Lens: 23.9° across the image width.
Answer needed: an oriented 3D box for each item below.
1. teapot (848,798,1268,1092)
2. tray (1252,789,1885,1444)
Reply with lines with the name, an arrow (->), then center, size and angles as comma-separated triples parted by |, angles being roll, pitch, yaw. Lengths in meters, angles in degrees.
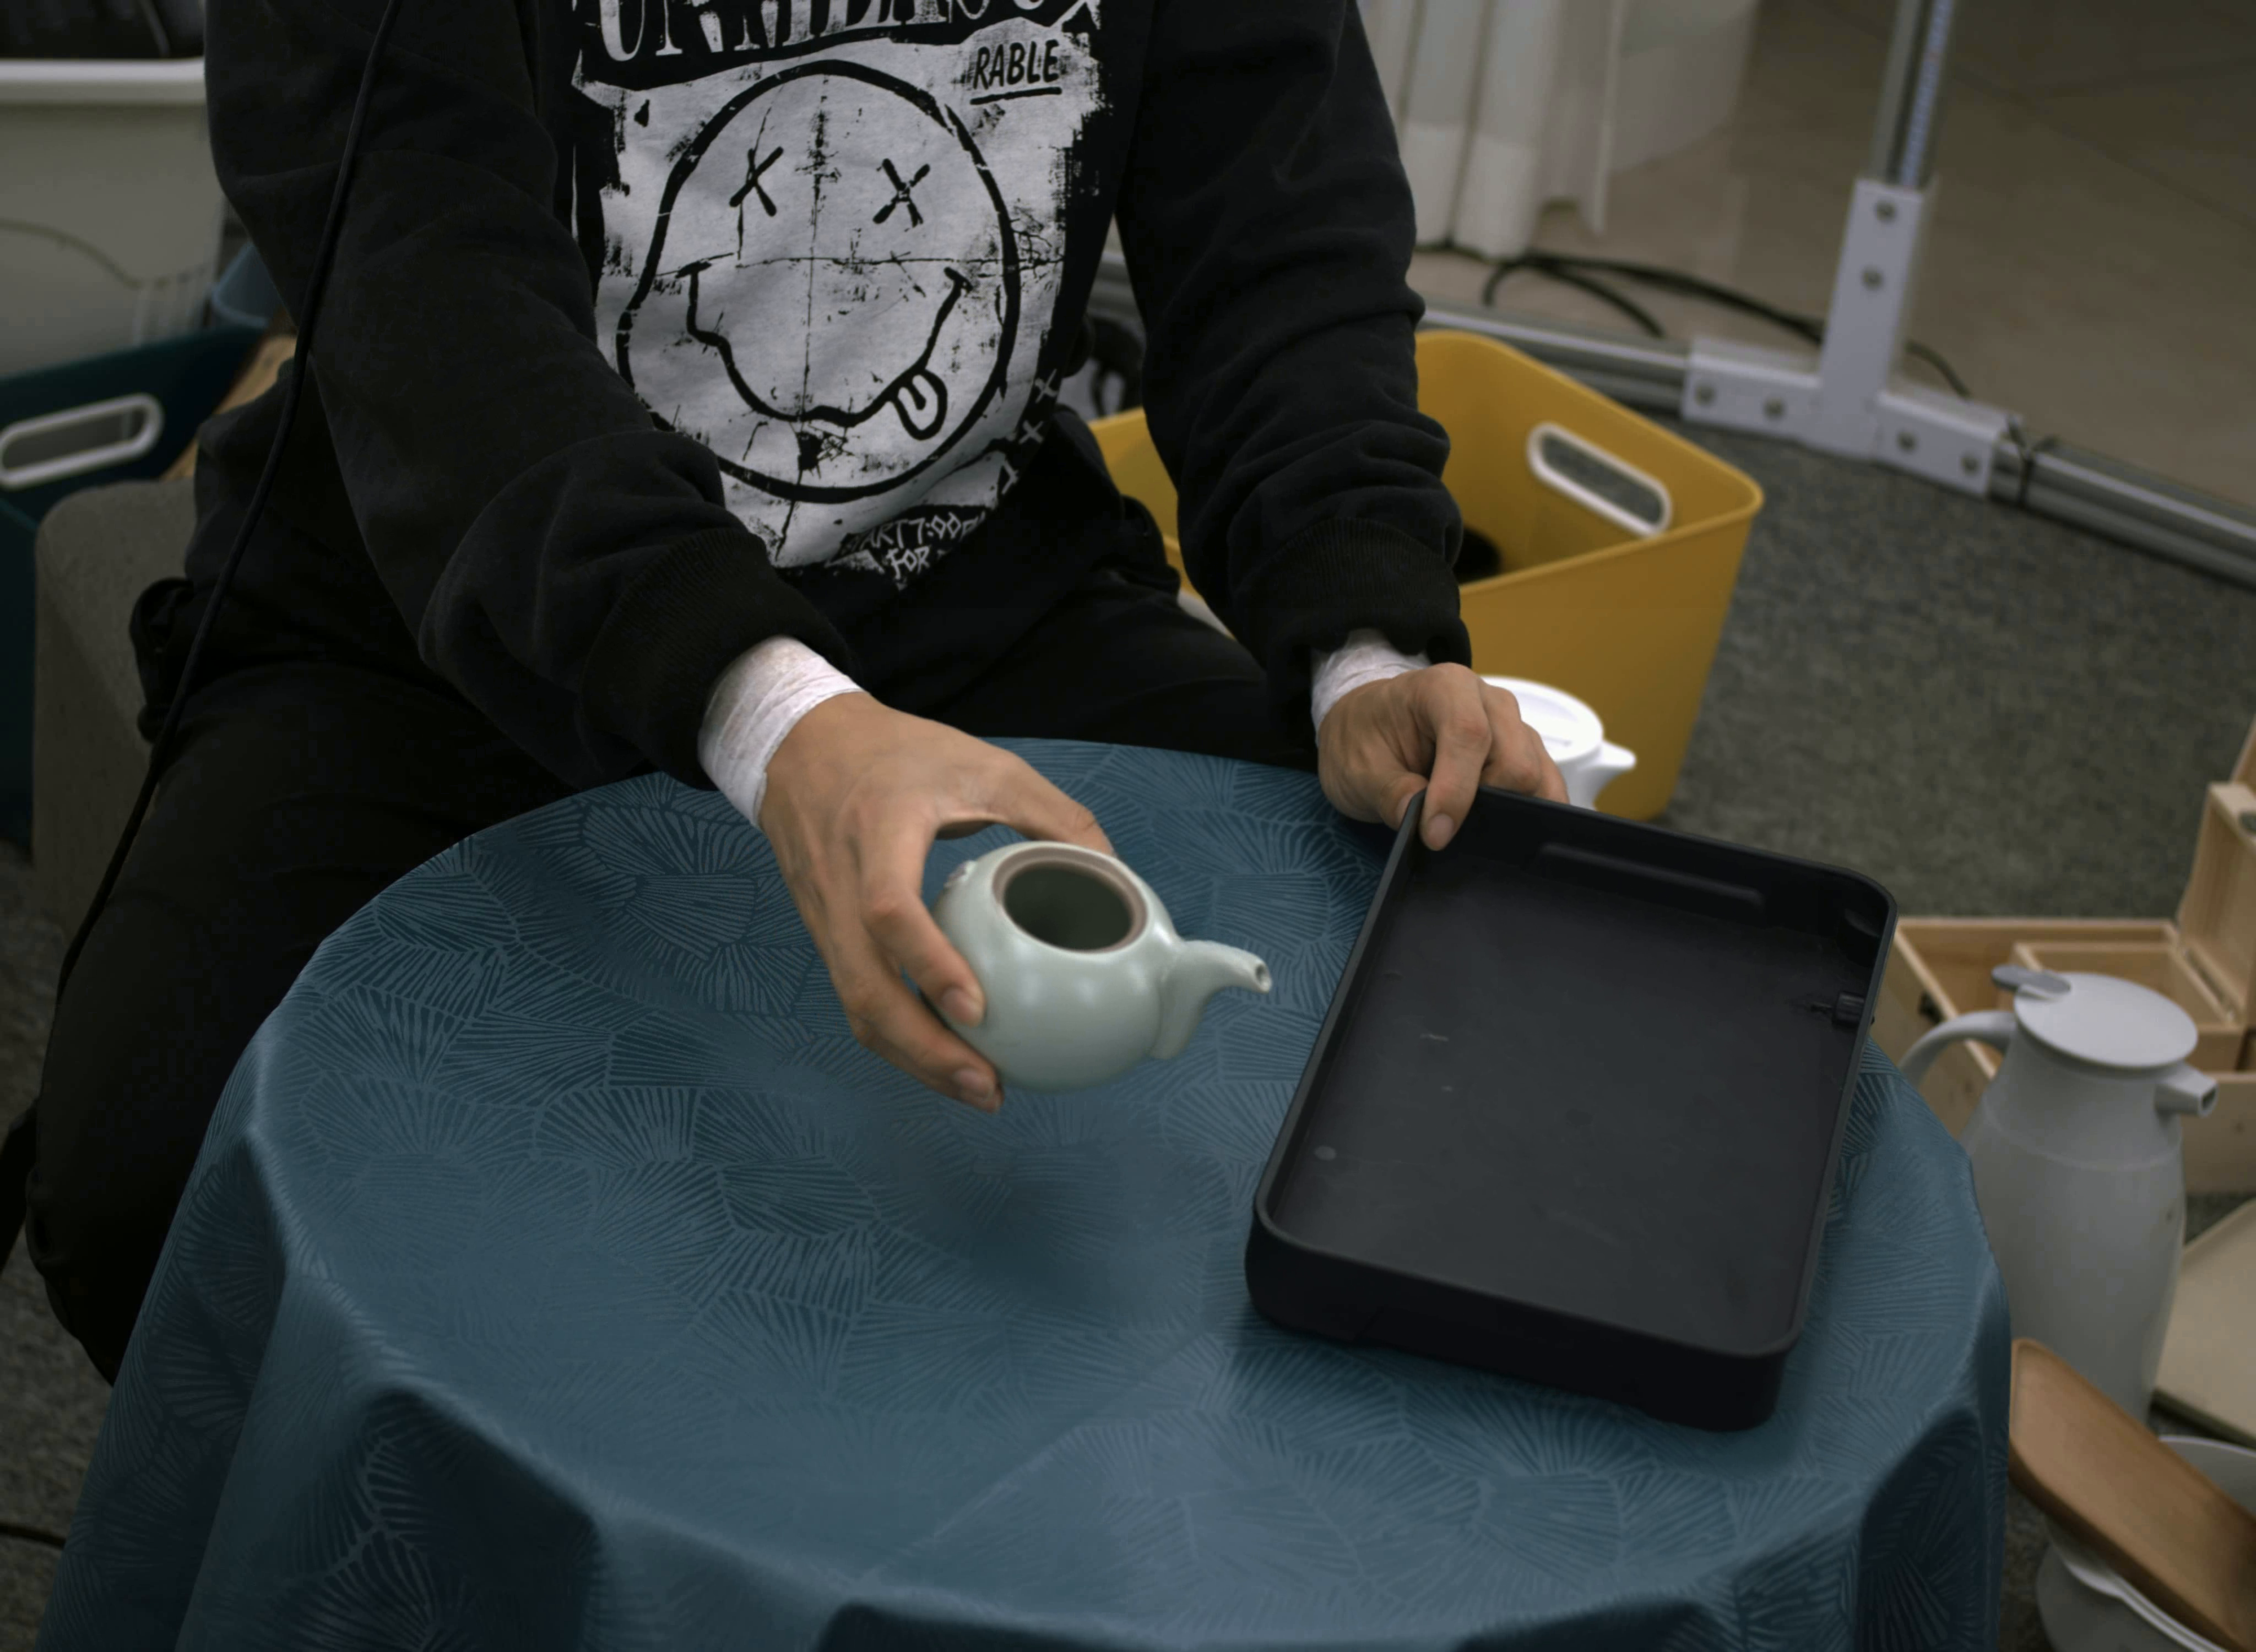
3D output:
teapot -> -0.028, 0.045, 1.758 | 0.144, 0.074, 0.088 | 25, 37, 7
tray -> 0.156, 0.093, 1.836 | 0.184, 0.037, 0.319 | 12, 31, 7
